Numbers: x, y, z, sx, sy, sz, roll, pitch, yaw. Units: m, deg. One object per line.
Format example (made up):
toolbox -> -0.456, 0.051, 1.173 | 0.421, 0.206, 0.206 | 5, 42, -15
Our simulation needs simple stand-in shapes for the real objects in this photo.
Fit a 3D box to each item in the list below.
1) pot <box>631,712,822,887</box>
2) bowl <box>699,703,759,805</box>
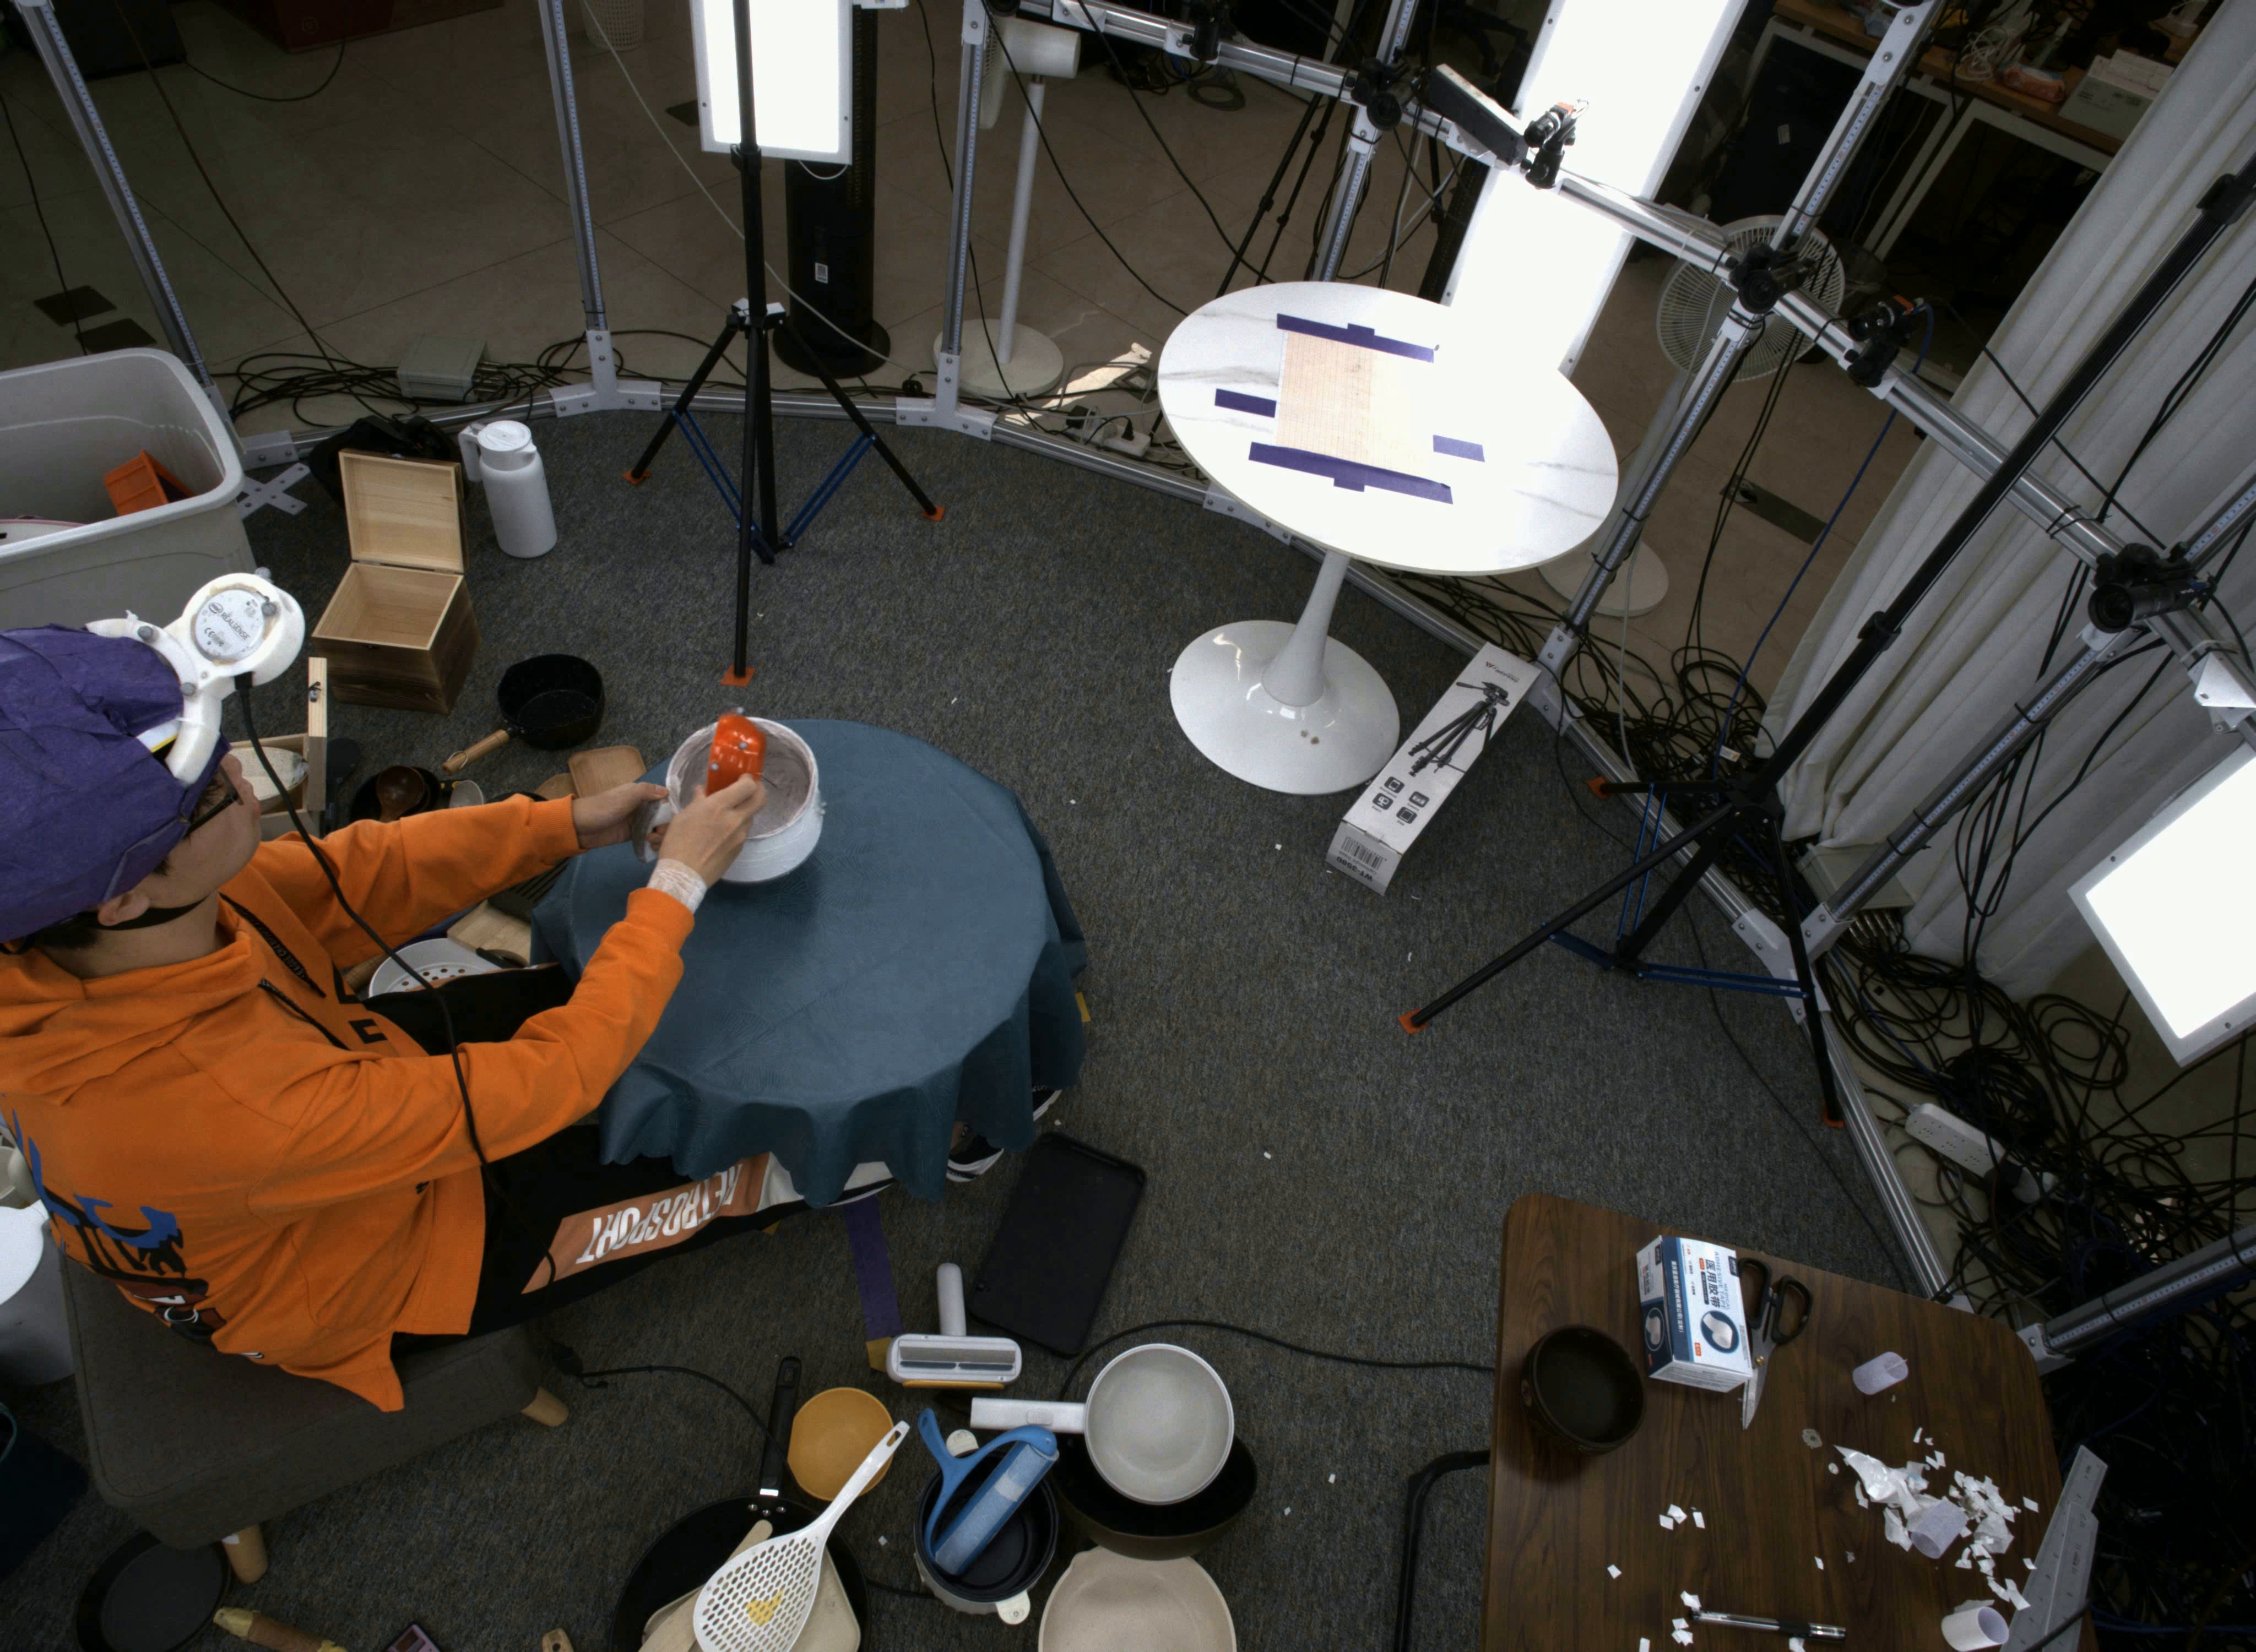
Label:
pot -> -0.489, -0.020, 1.560 | 0.234, 0.139, 0.175 | -17, 64, -20
bowl -> -0.457, -0.080, 1.487 | 0.051, 0.121, 0.116 | 9, 51, -11
